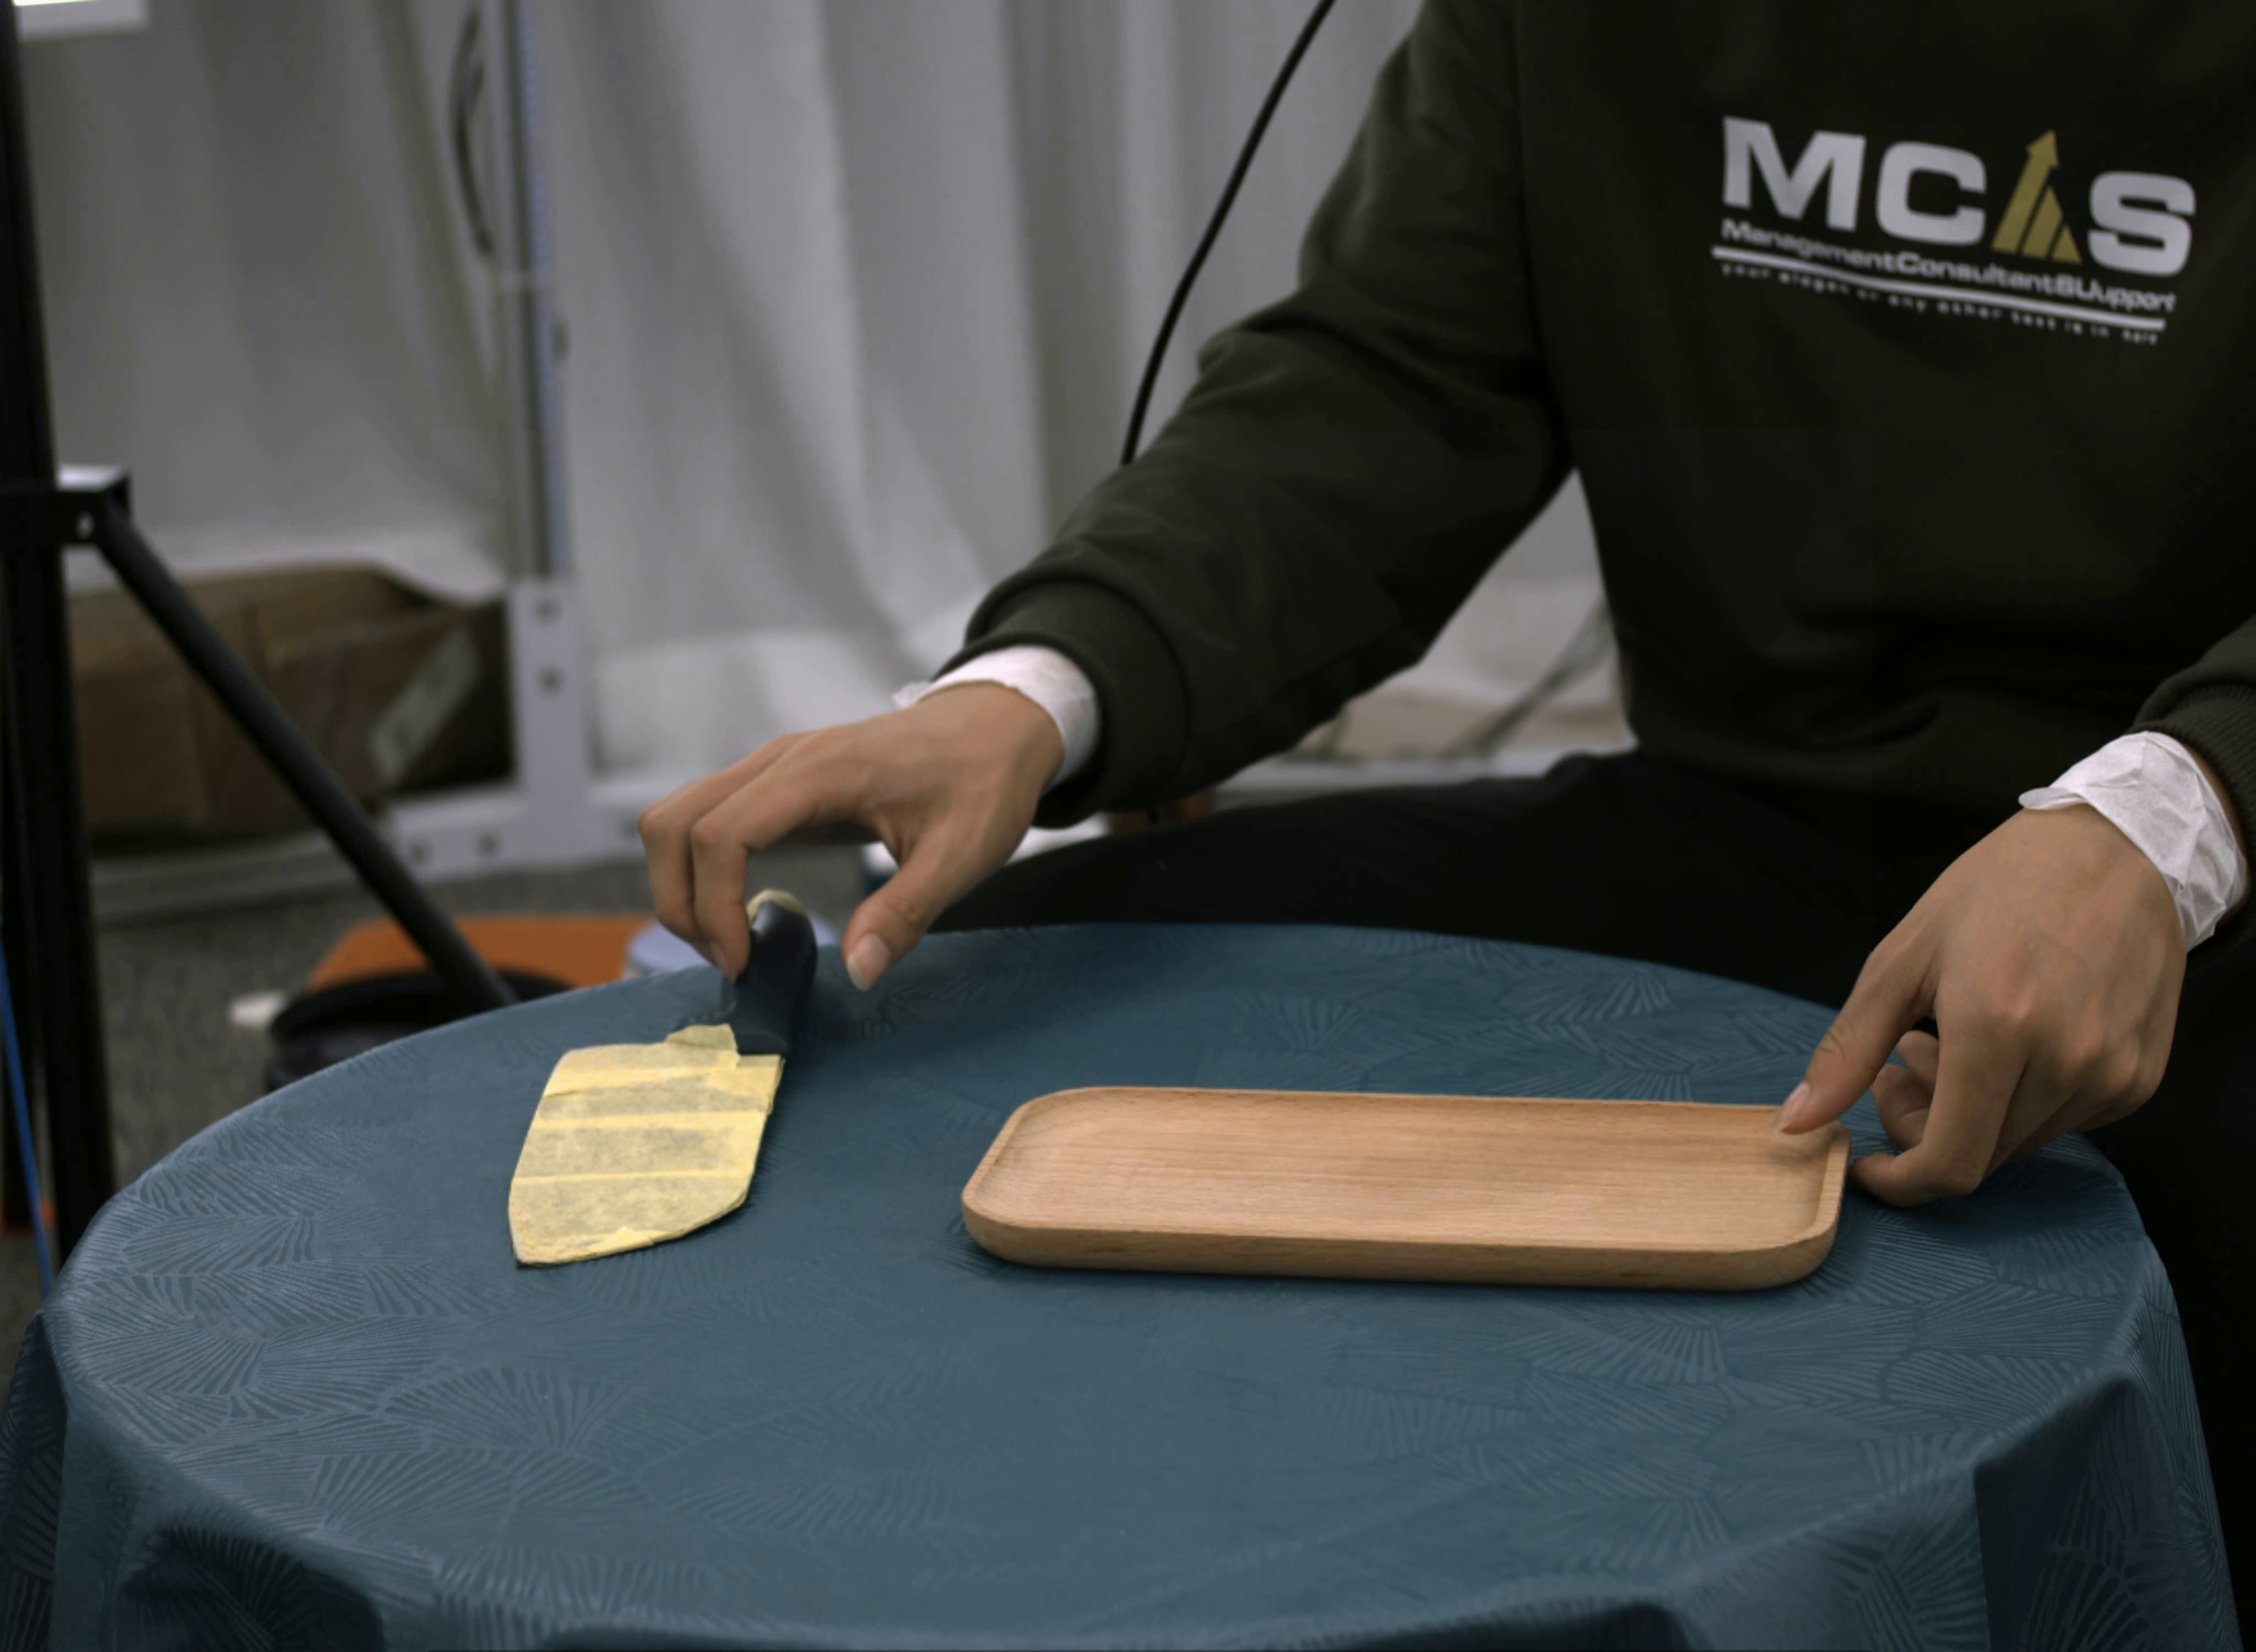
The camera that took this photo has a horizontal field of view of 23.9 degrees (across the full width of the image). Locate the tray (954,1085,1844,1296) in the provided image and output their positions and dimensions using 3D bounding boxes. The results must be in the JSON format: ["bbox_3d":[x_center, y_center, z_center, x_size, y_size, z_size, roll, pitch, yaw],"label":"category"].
[{"bbox_3d":[0.080,0.105,1.531,0.252,0.023,0.129,1,13,13],"label":"tray"}]

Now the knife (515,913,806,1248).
[{"bbox_3d":[-0.142,0.079,1.660,0.081,0.027,0.289,1,17,5],"label":"knife"}]
